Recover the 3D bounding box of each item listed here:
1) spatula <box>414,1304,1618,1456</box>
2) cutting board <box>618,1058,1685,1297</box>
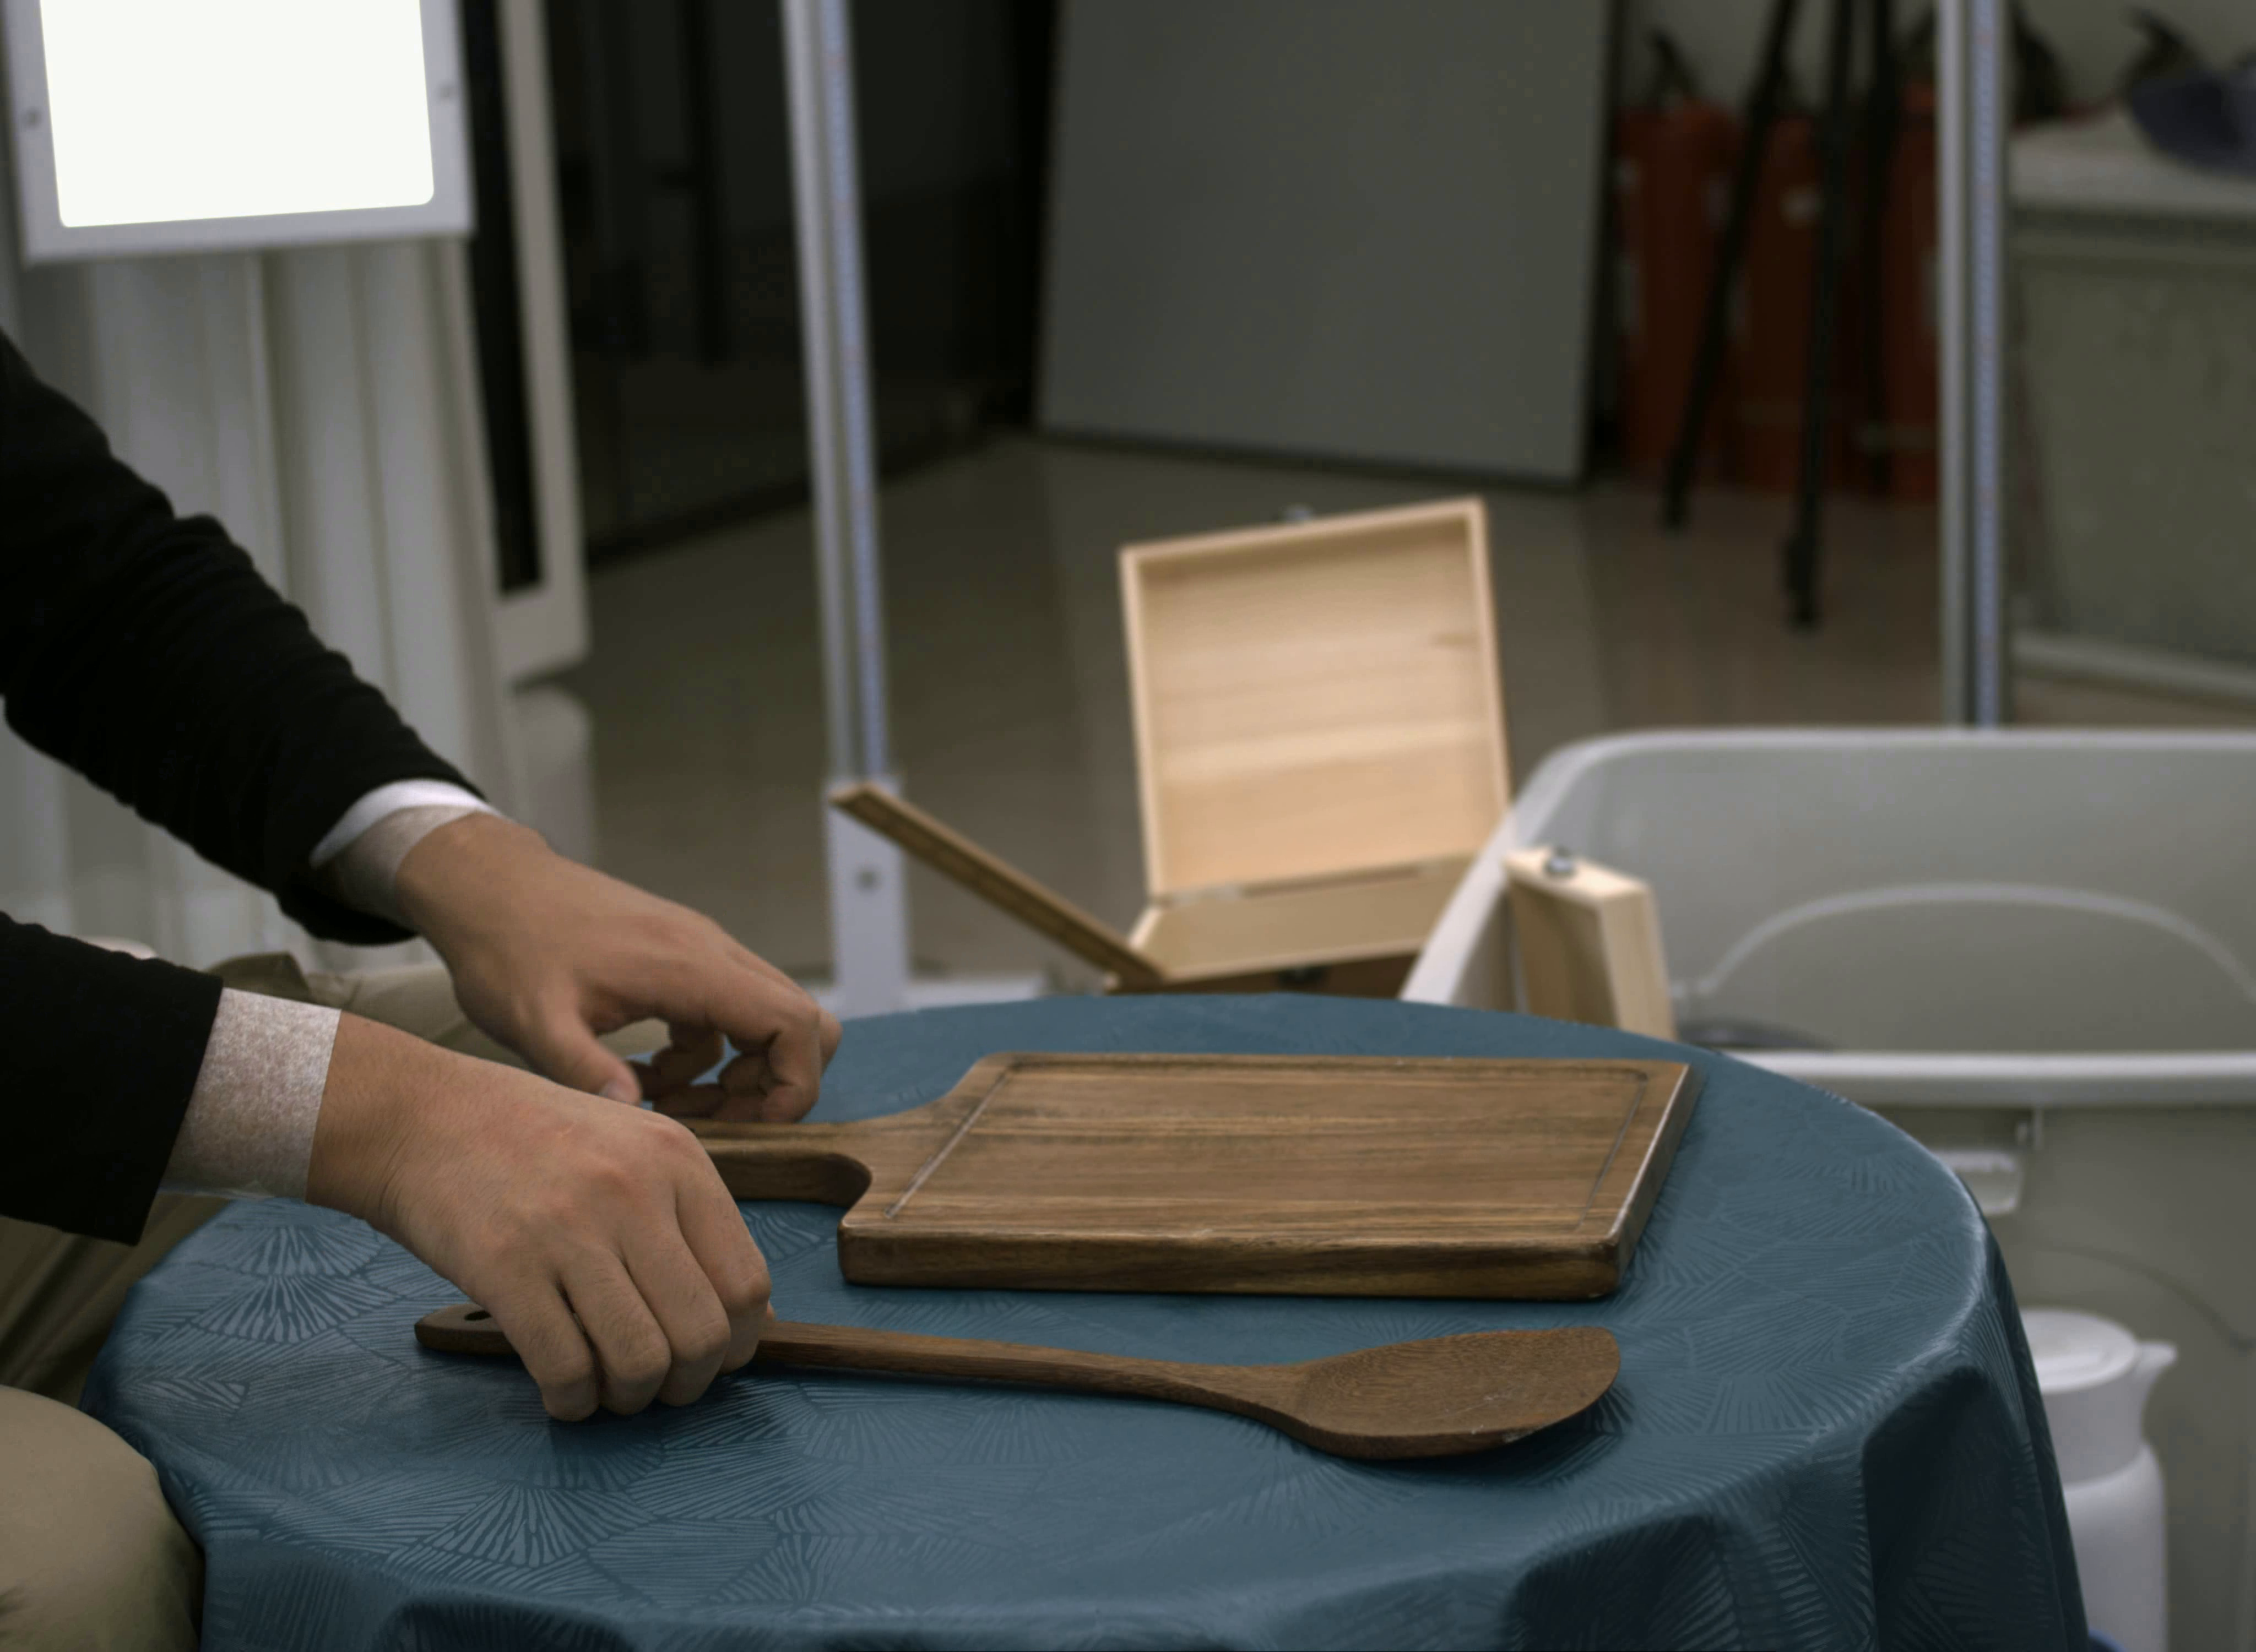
[{"bbox_3d":[-0.042,0.159,1.598,0.386,0.016,0.095,1,14,23],"label":"spatula"},{"bbox_3d":[0.001,0.112,1.764,0.350,0.023,0.200,-1,14,14],"label":"cutting board"}]
